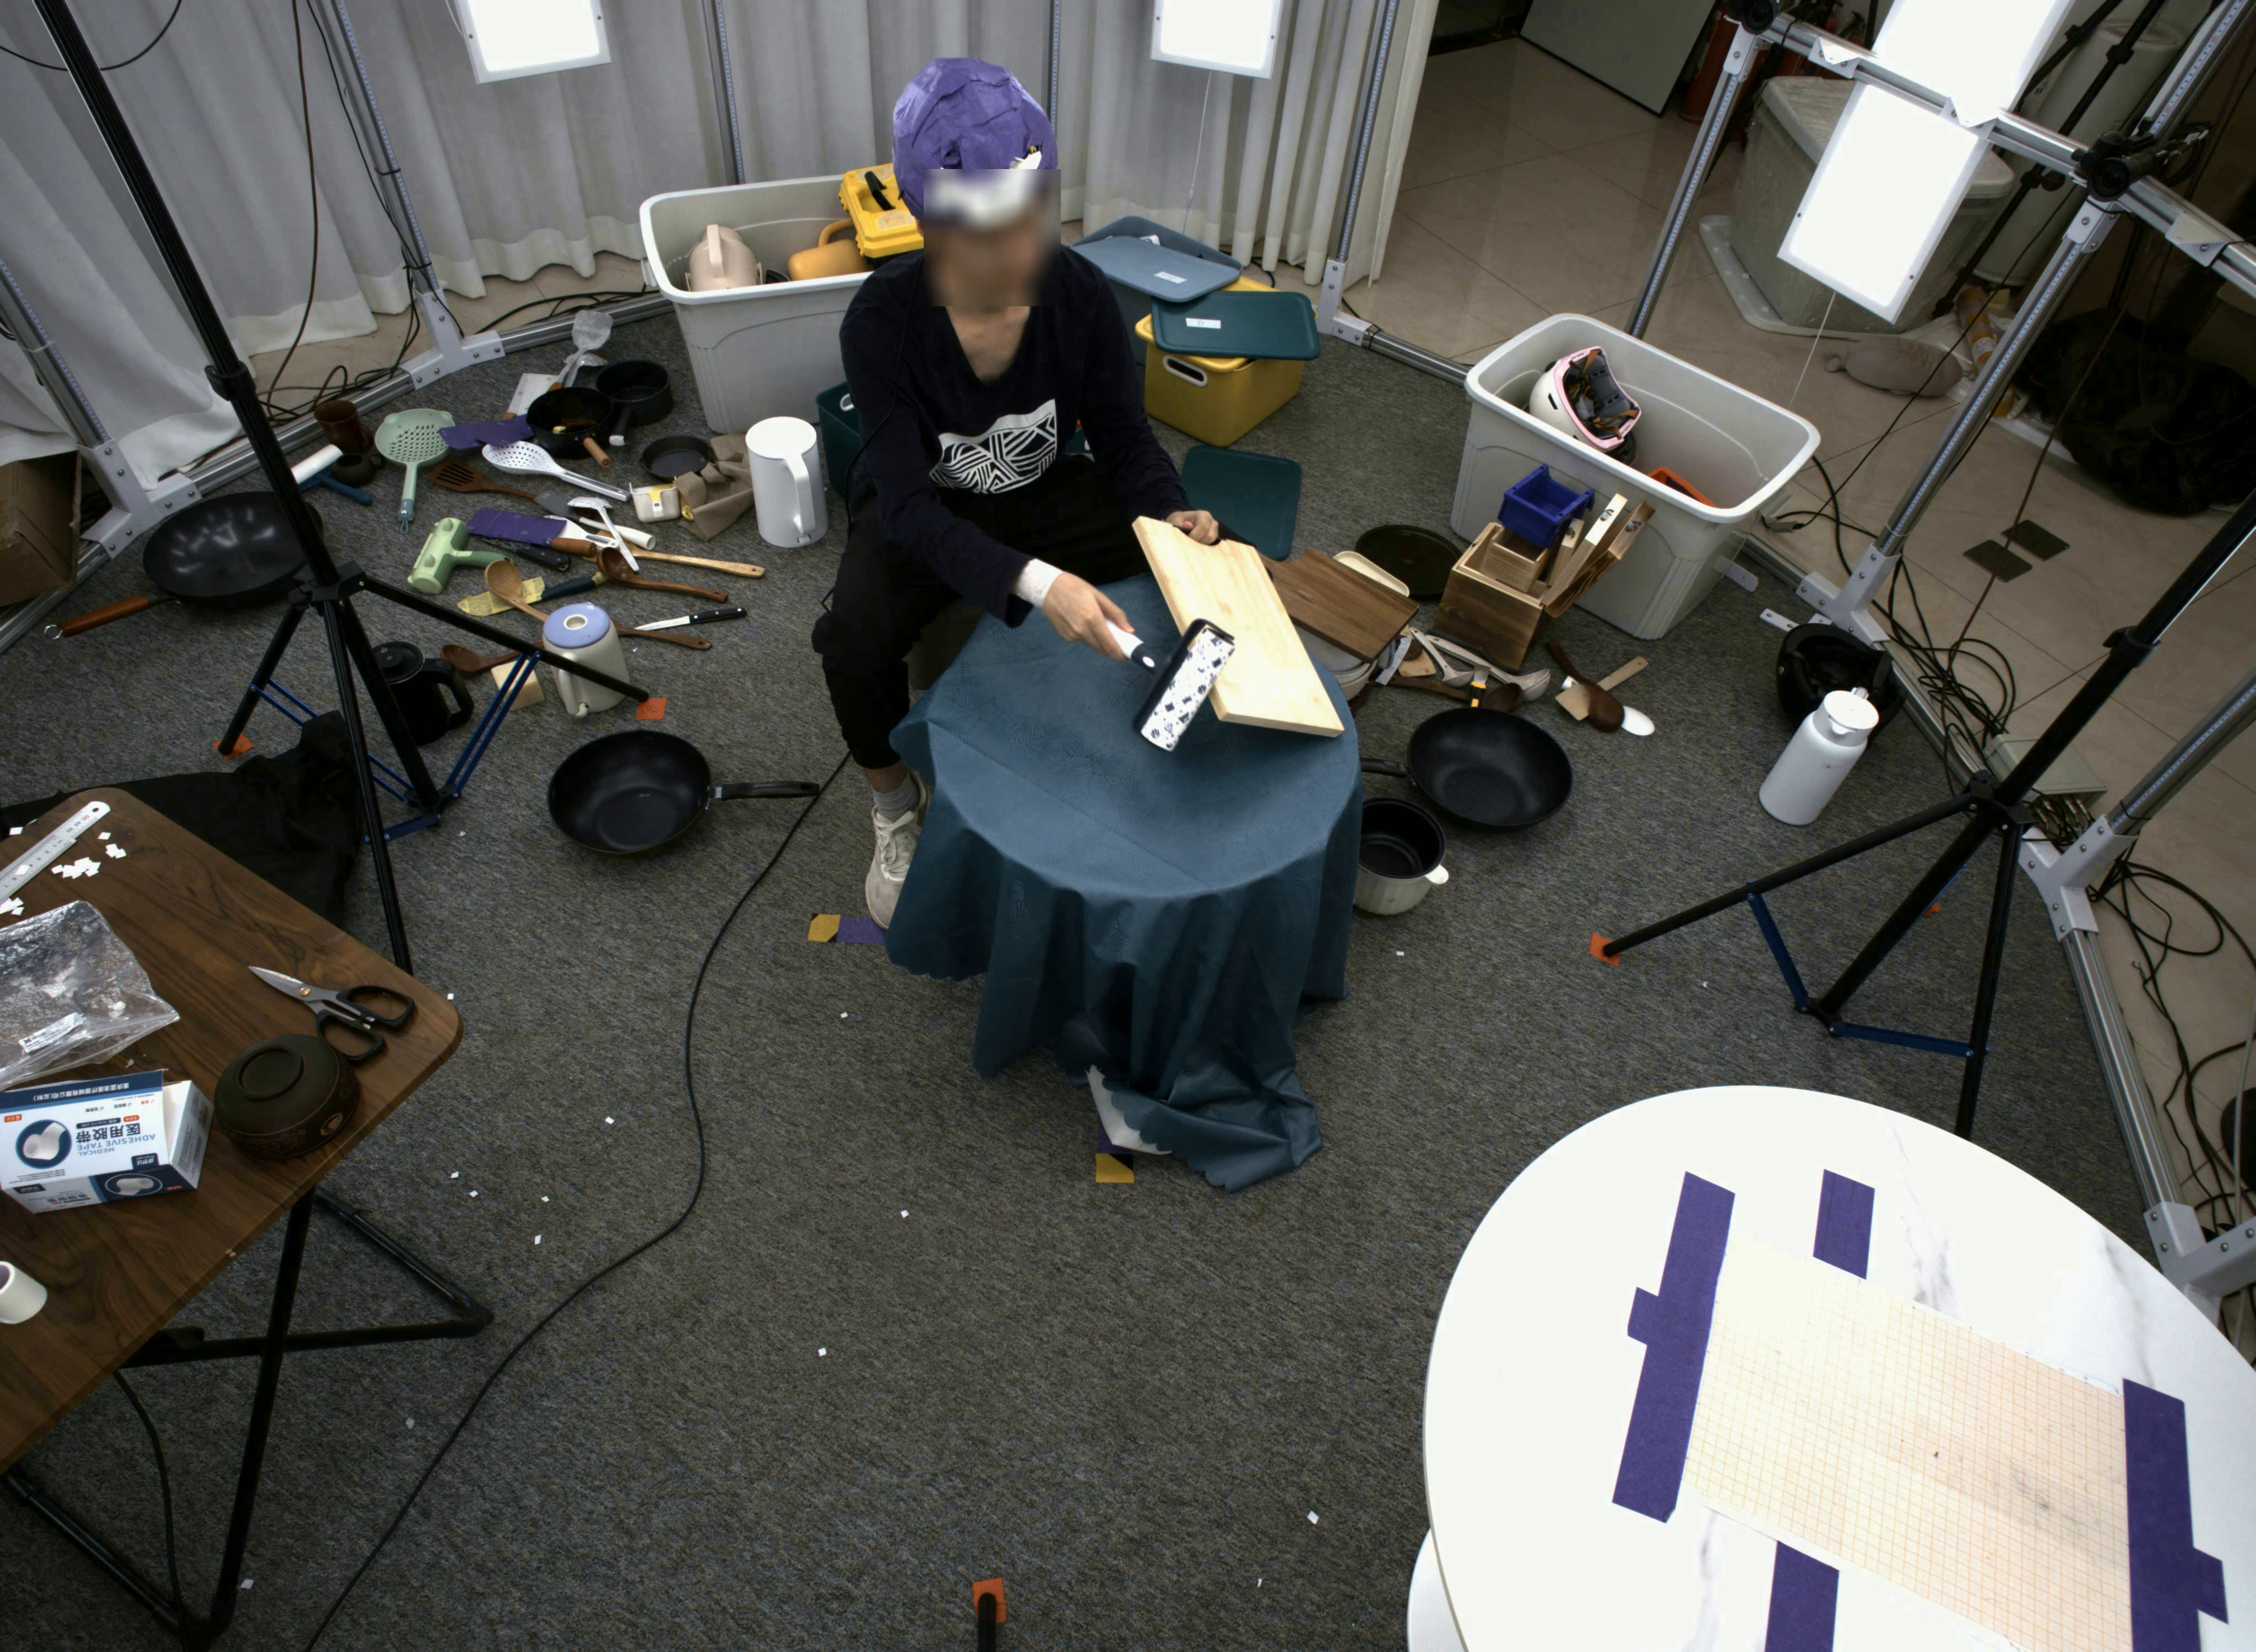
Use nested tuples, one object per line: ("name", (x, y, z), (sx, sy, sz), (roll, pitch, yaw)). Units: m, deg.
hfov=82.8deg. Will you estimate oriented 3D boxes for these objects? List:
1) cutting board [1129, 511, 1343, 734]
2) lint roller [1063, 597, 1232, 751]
("cutting board", (0.150, -0.282, 1.793), (0.249, 0.023, 0.355), (4, 54, -42))
("lint roller", (0.000, -0.234, 1.687), (0.250, 0.175, 0.050), (37, 14, 25))
